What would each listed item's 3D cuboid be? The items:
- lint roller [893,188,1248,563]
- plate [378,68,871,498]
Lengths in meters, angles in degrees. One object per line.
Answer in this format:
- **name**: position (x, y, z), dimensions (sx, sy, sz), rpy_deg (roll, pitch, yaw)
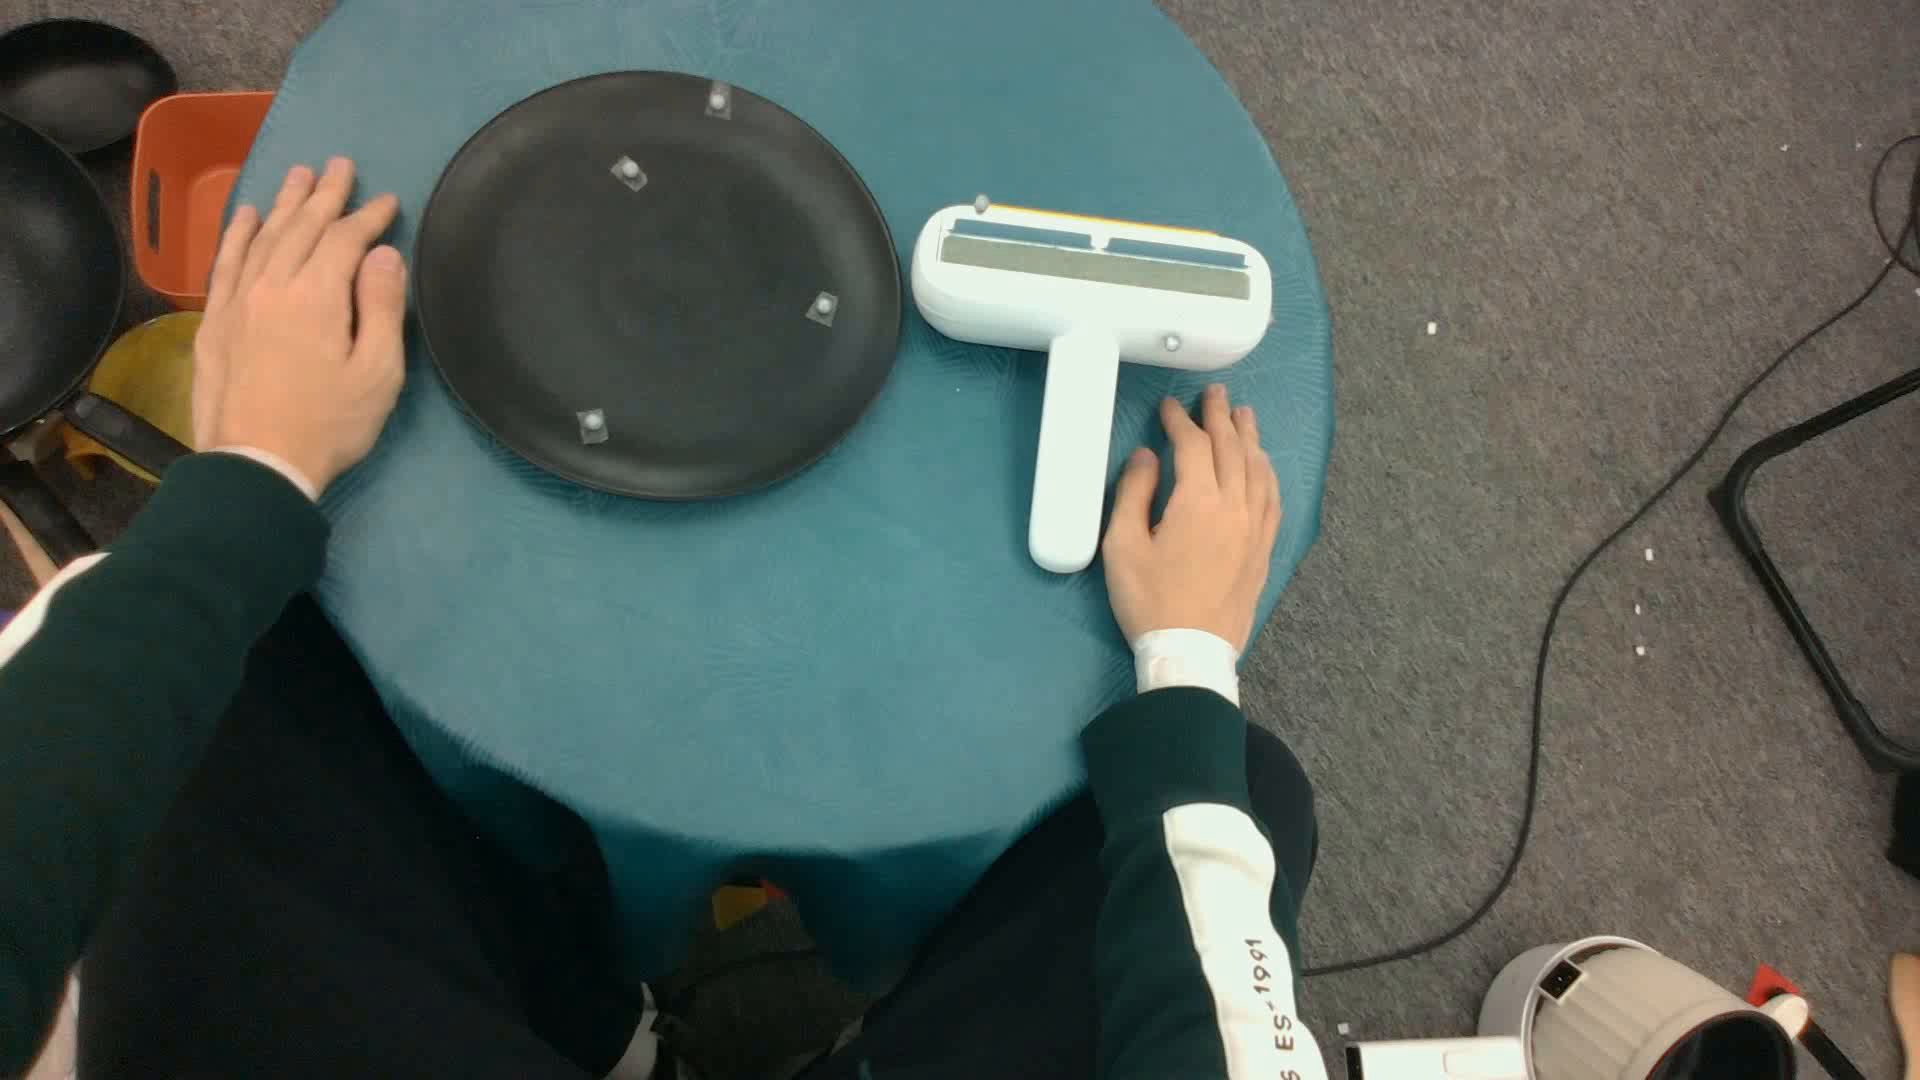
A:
- **lint roller**: position (0.047, -0.083, 0.747), dimensions (0.193, 0.074, 0.192), rpy_deg (12, 84, -4)
- **plate**: position (-0.167, -0.133, 0.708), dimensions (0.244, 0.023, 0.245), rpy_deg (5, 71, -14)
